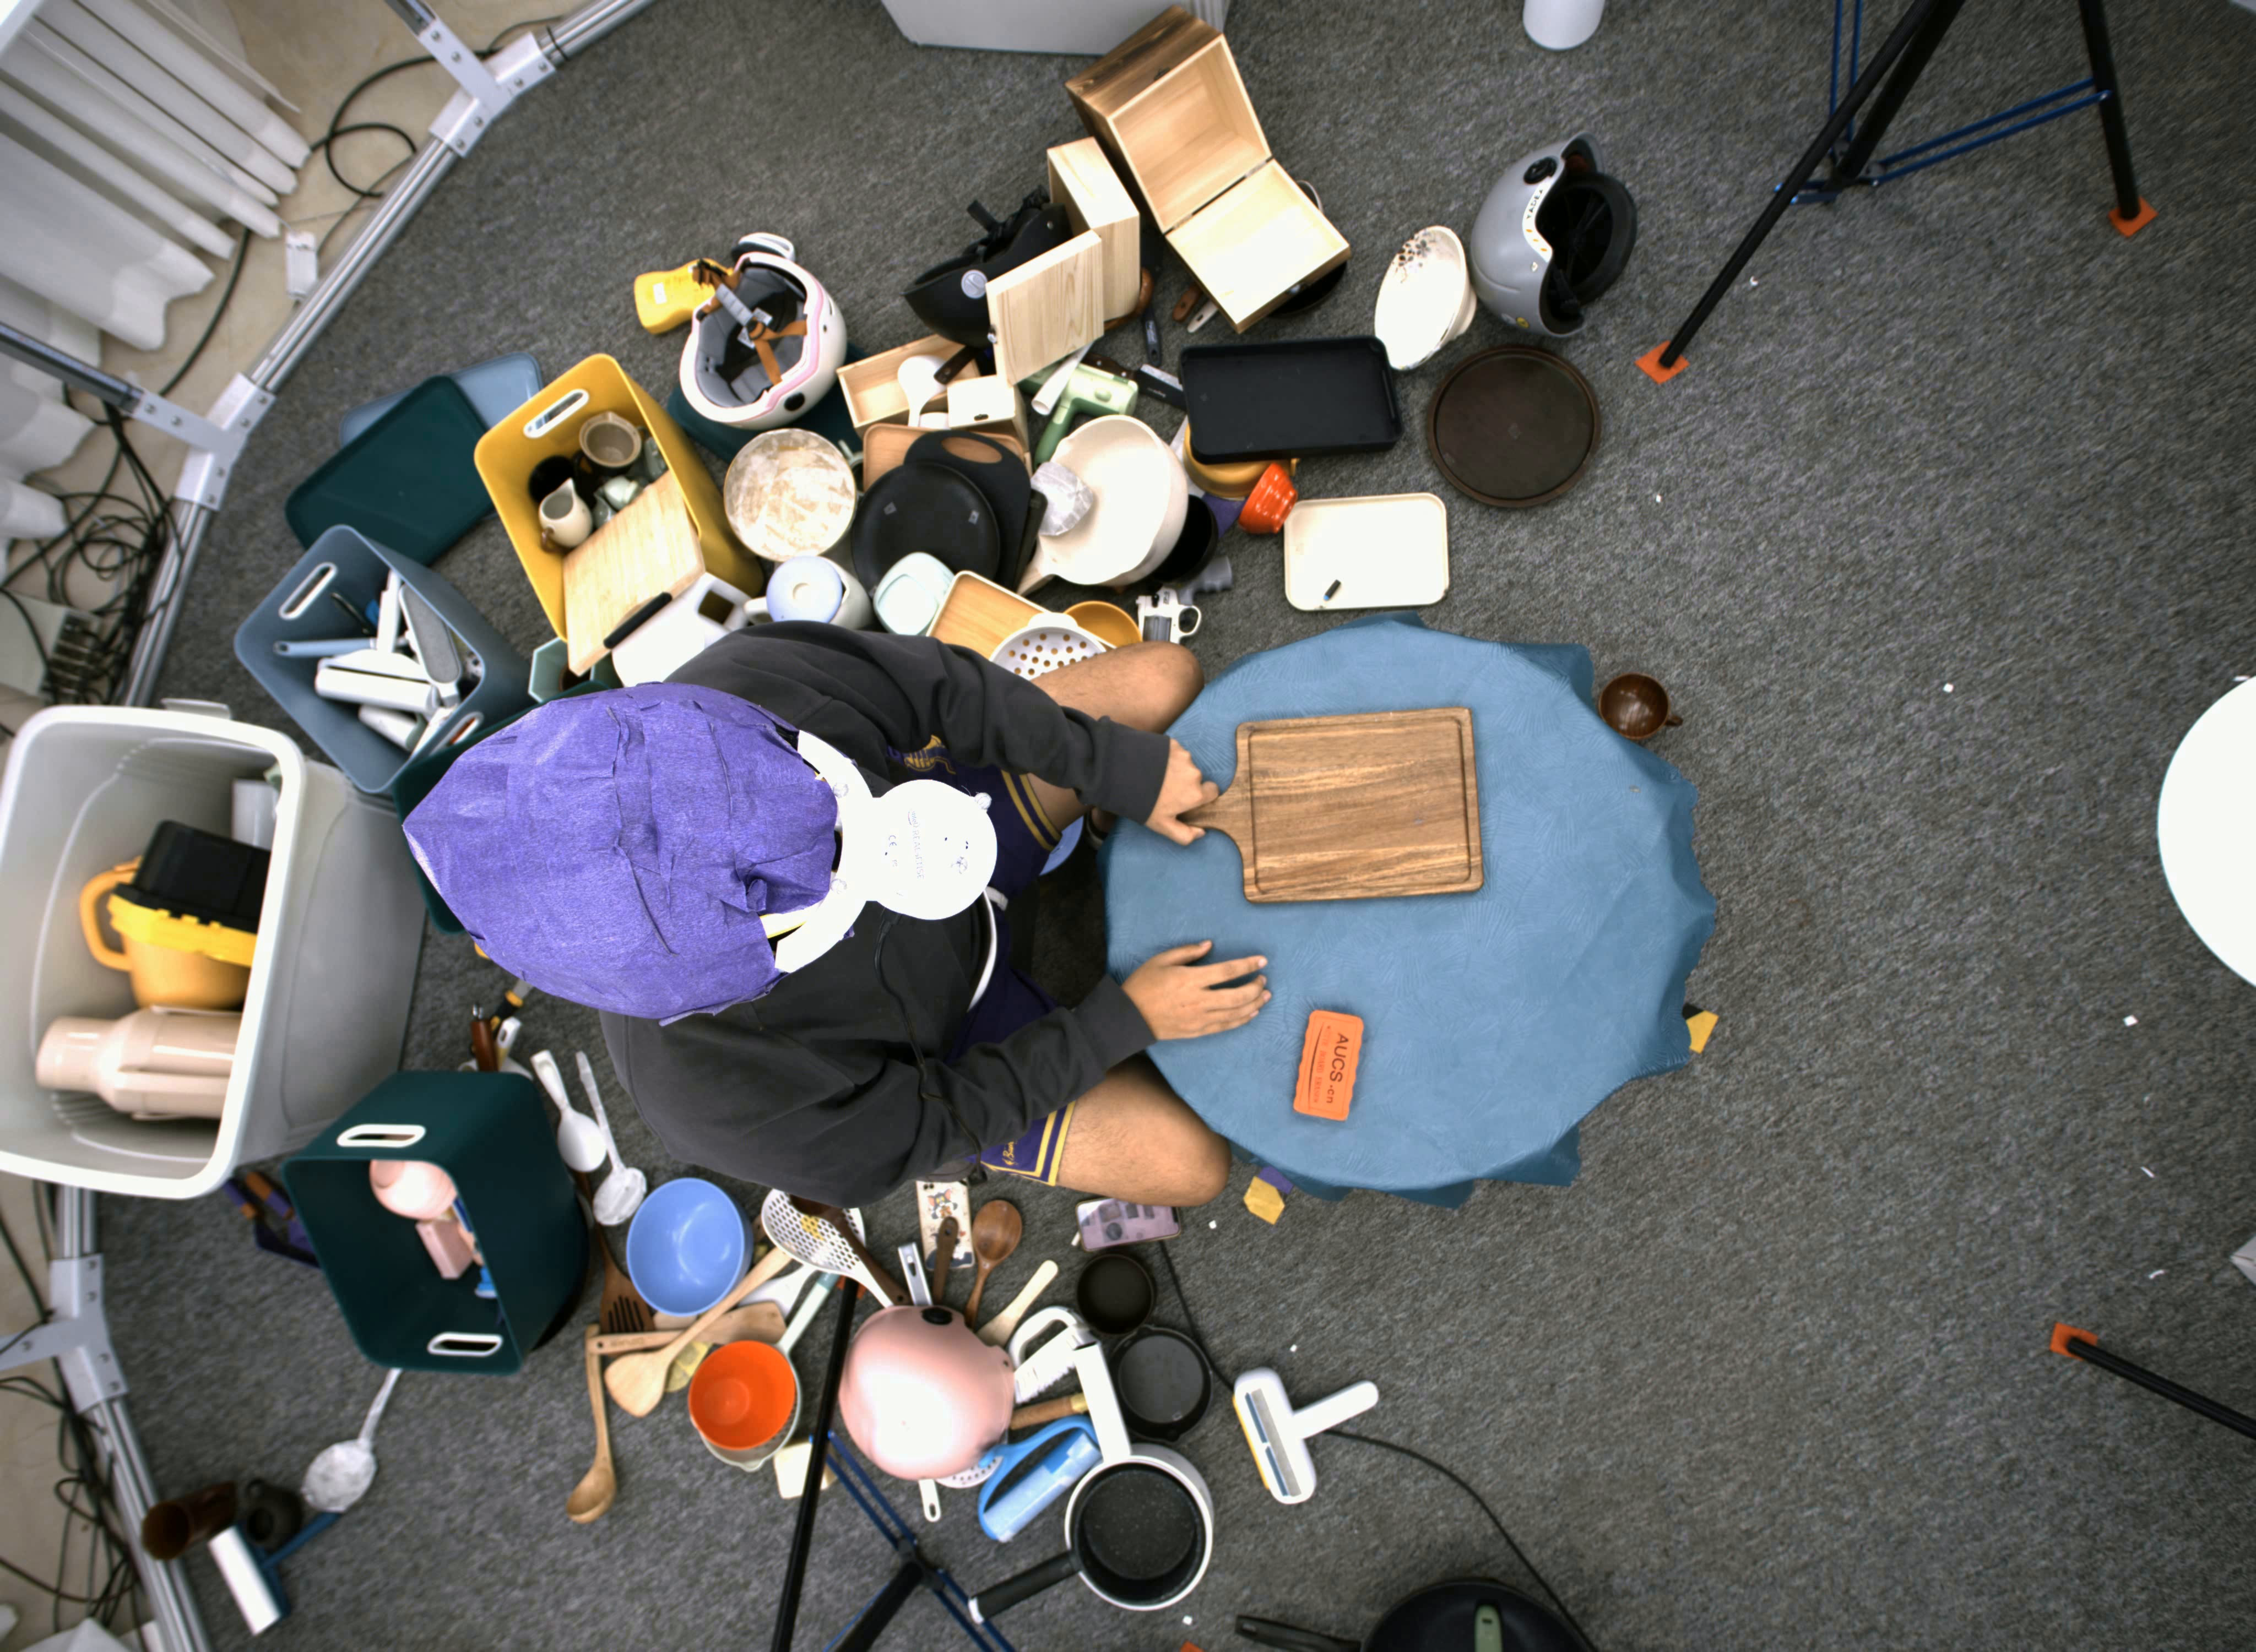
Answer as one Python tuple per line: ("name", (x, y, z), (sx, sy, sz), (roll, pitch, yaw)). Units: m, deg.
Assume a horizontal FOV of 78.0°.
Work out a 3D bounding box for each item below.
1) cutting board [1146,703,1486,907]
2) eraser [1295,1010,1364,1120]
("cutting board", (0.194, -0.019, 1.468), (0.354, 0.023, 0.200), (-4, 86, 10))
("eraser", (0.210, 0.247, 1.445), (0.059, 0.023, 0.108), (10, 90, 11))
